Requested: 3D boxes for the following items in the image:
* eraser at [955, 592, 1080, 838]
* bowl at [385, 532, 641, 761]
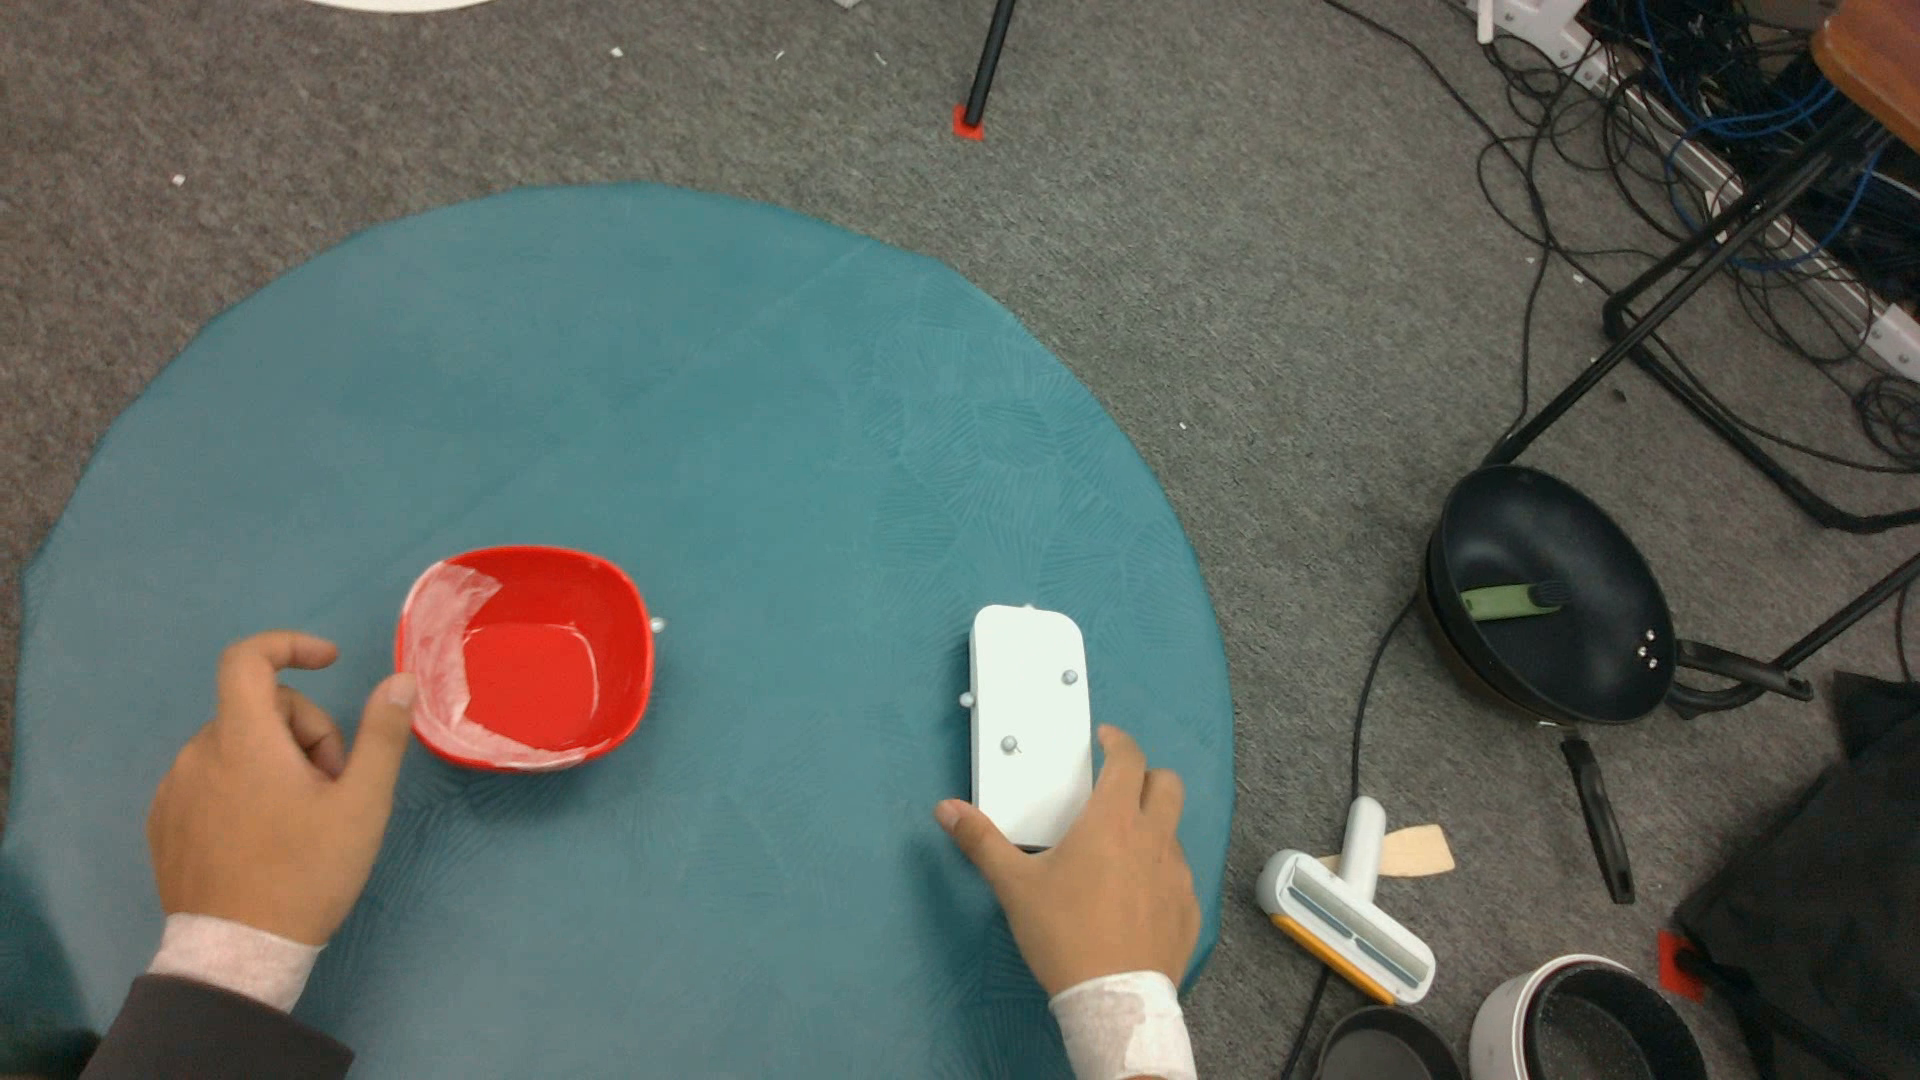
[{"bbox_3d":[0.027,0.089,0.718,0.063,0.034,0.132,8,58,-14],"label":"eraser"},{"bbox_3d":[-0.208,0.056,0.643,0.119,0.051,0.119,9,60,-16],"label":"bowl"}]
